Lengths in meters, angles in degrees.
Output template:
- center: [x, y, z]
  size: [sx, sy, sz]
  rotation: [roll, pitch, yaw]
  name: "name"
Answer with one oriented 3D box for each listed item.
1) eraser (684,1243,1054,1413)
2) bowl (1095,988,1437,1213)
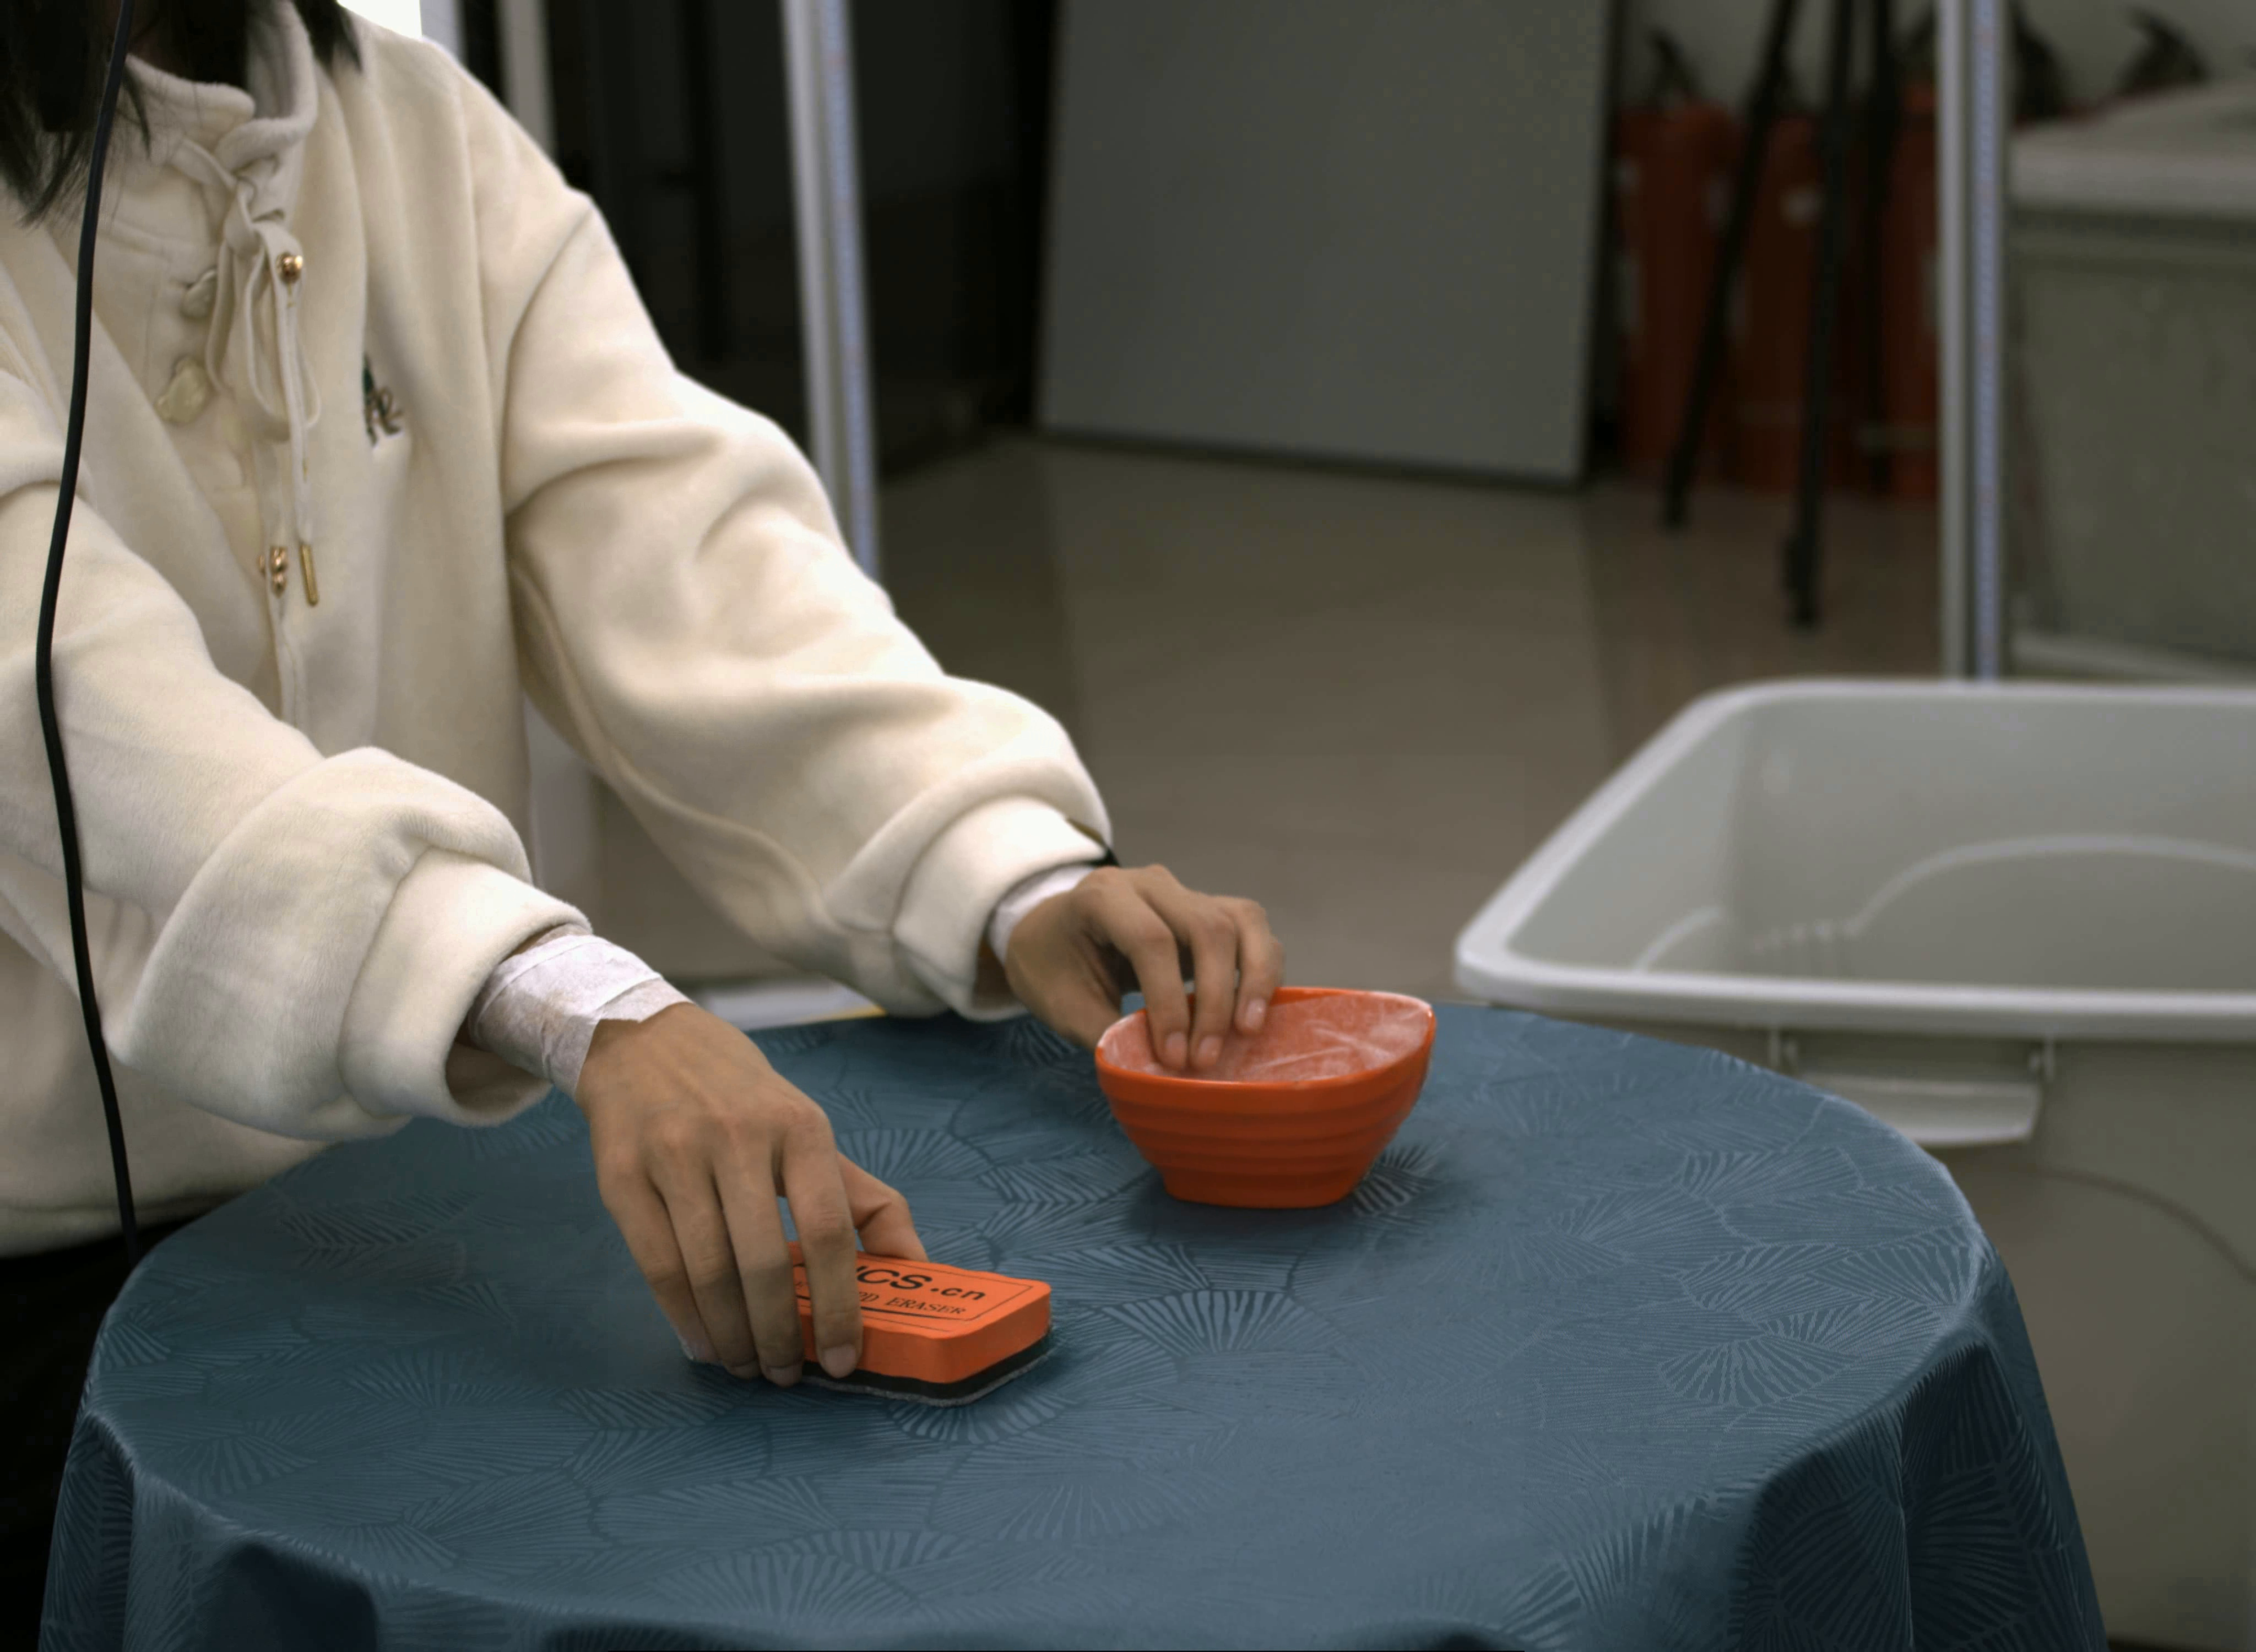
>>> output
- center: [-0.078, 0.150, 1.626]
  size: [0.109, 0.023, 0.058]
  rotation: [6, 19, 36]
  name: "eraser"
- center: [0.048, 0.092, 1.768]
  size: [0.117, 0.052, 0.119]
  rotation: [-6, 14, 0]
  name: "bowl"
